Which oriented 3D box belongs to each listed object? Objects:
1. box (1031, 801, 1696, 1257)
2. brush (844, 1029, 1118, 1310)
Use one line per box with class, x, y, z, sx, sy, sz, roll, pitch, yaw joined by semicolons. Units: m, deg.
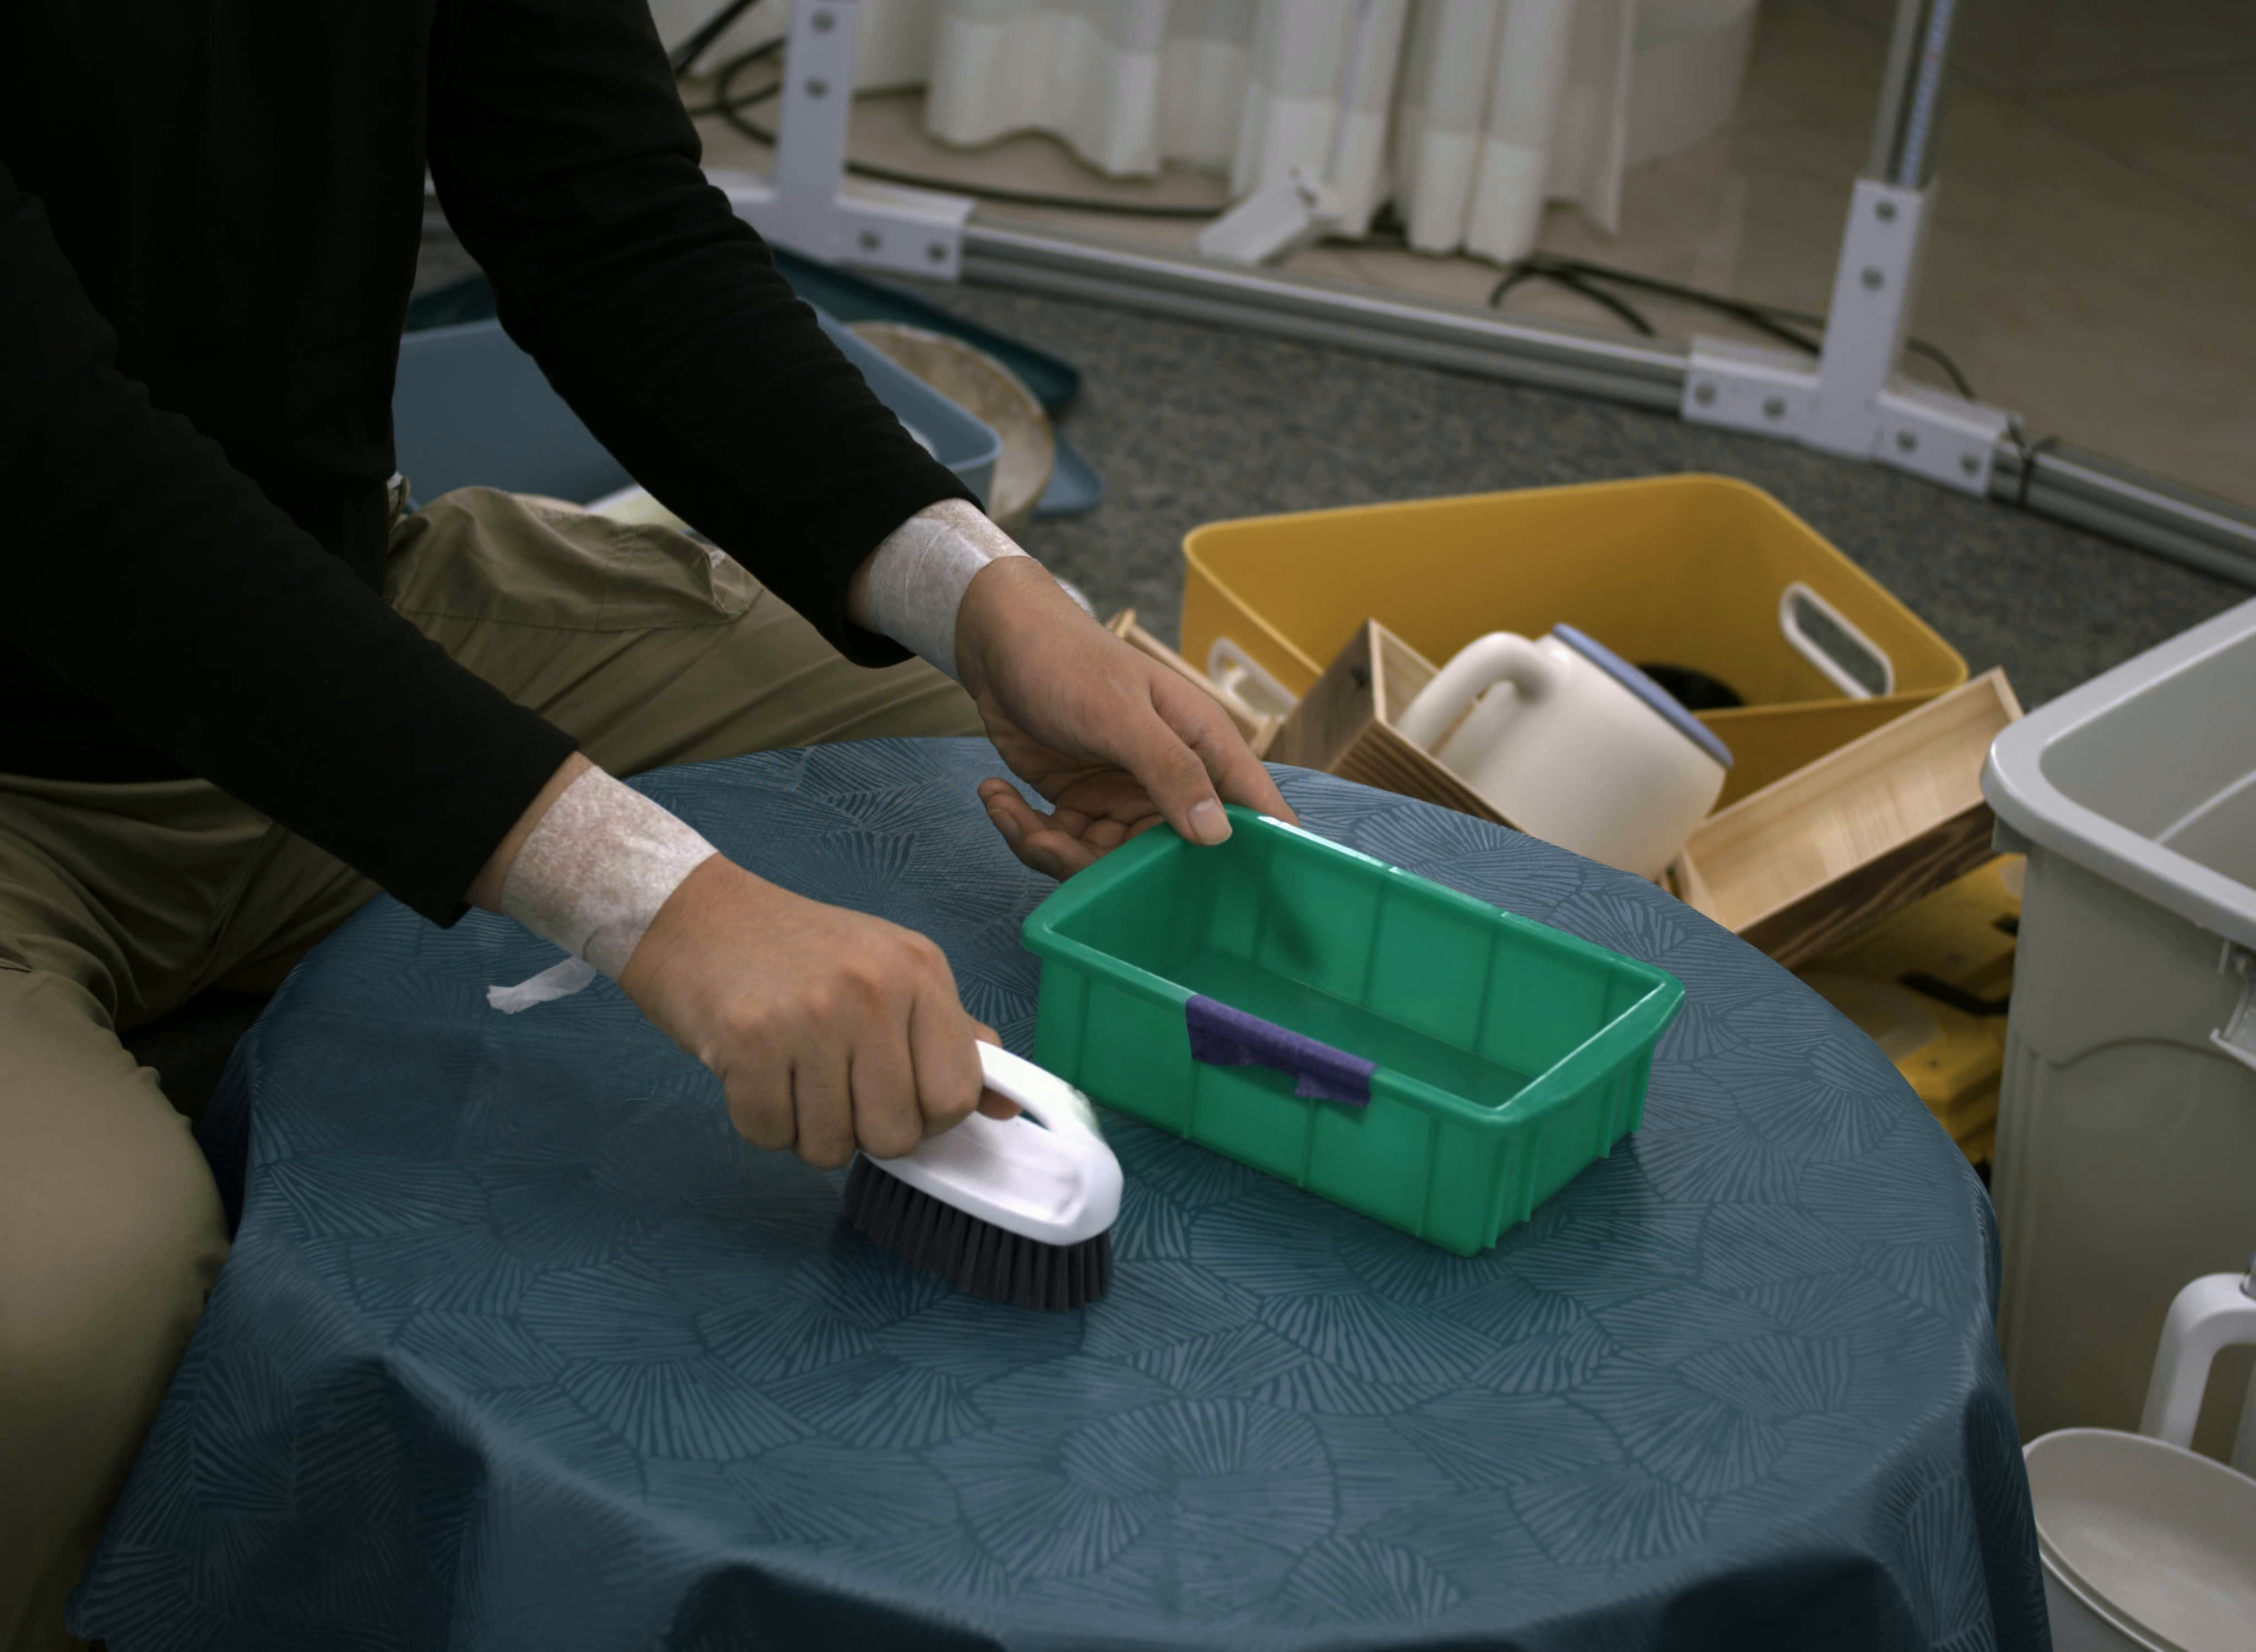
box;0.079;0.071;1.855;0.211;0.065;0.138;22;33;25
brush;-0.047;0.106;1.743;0.100;0.072;0.050;25;34;29
